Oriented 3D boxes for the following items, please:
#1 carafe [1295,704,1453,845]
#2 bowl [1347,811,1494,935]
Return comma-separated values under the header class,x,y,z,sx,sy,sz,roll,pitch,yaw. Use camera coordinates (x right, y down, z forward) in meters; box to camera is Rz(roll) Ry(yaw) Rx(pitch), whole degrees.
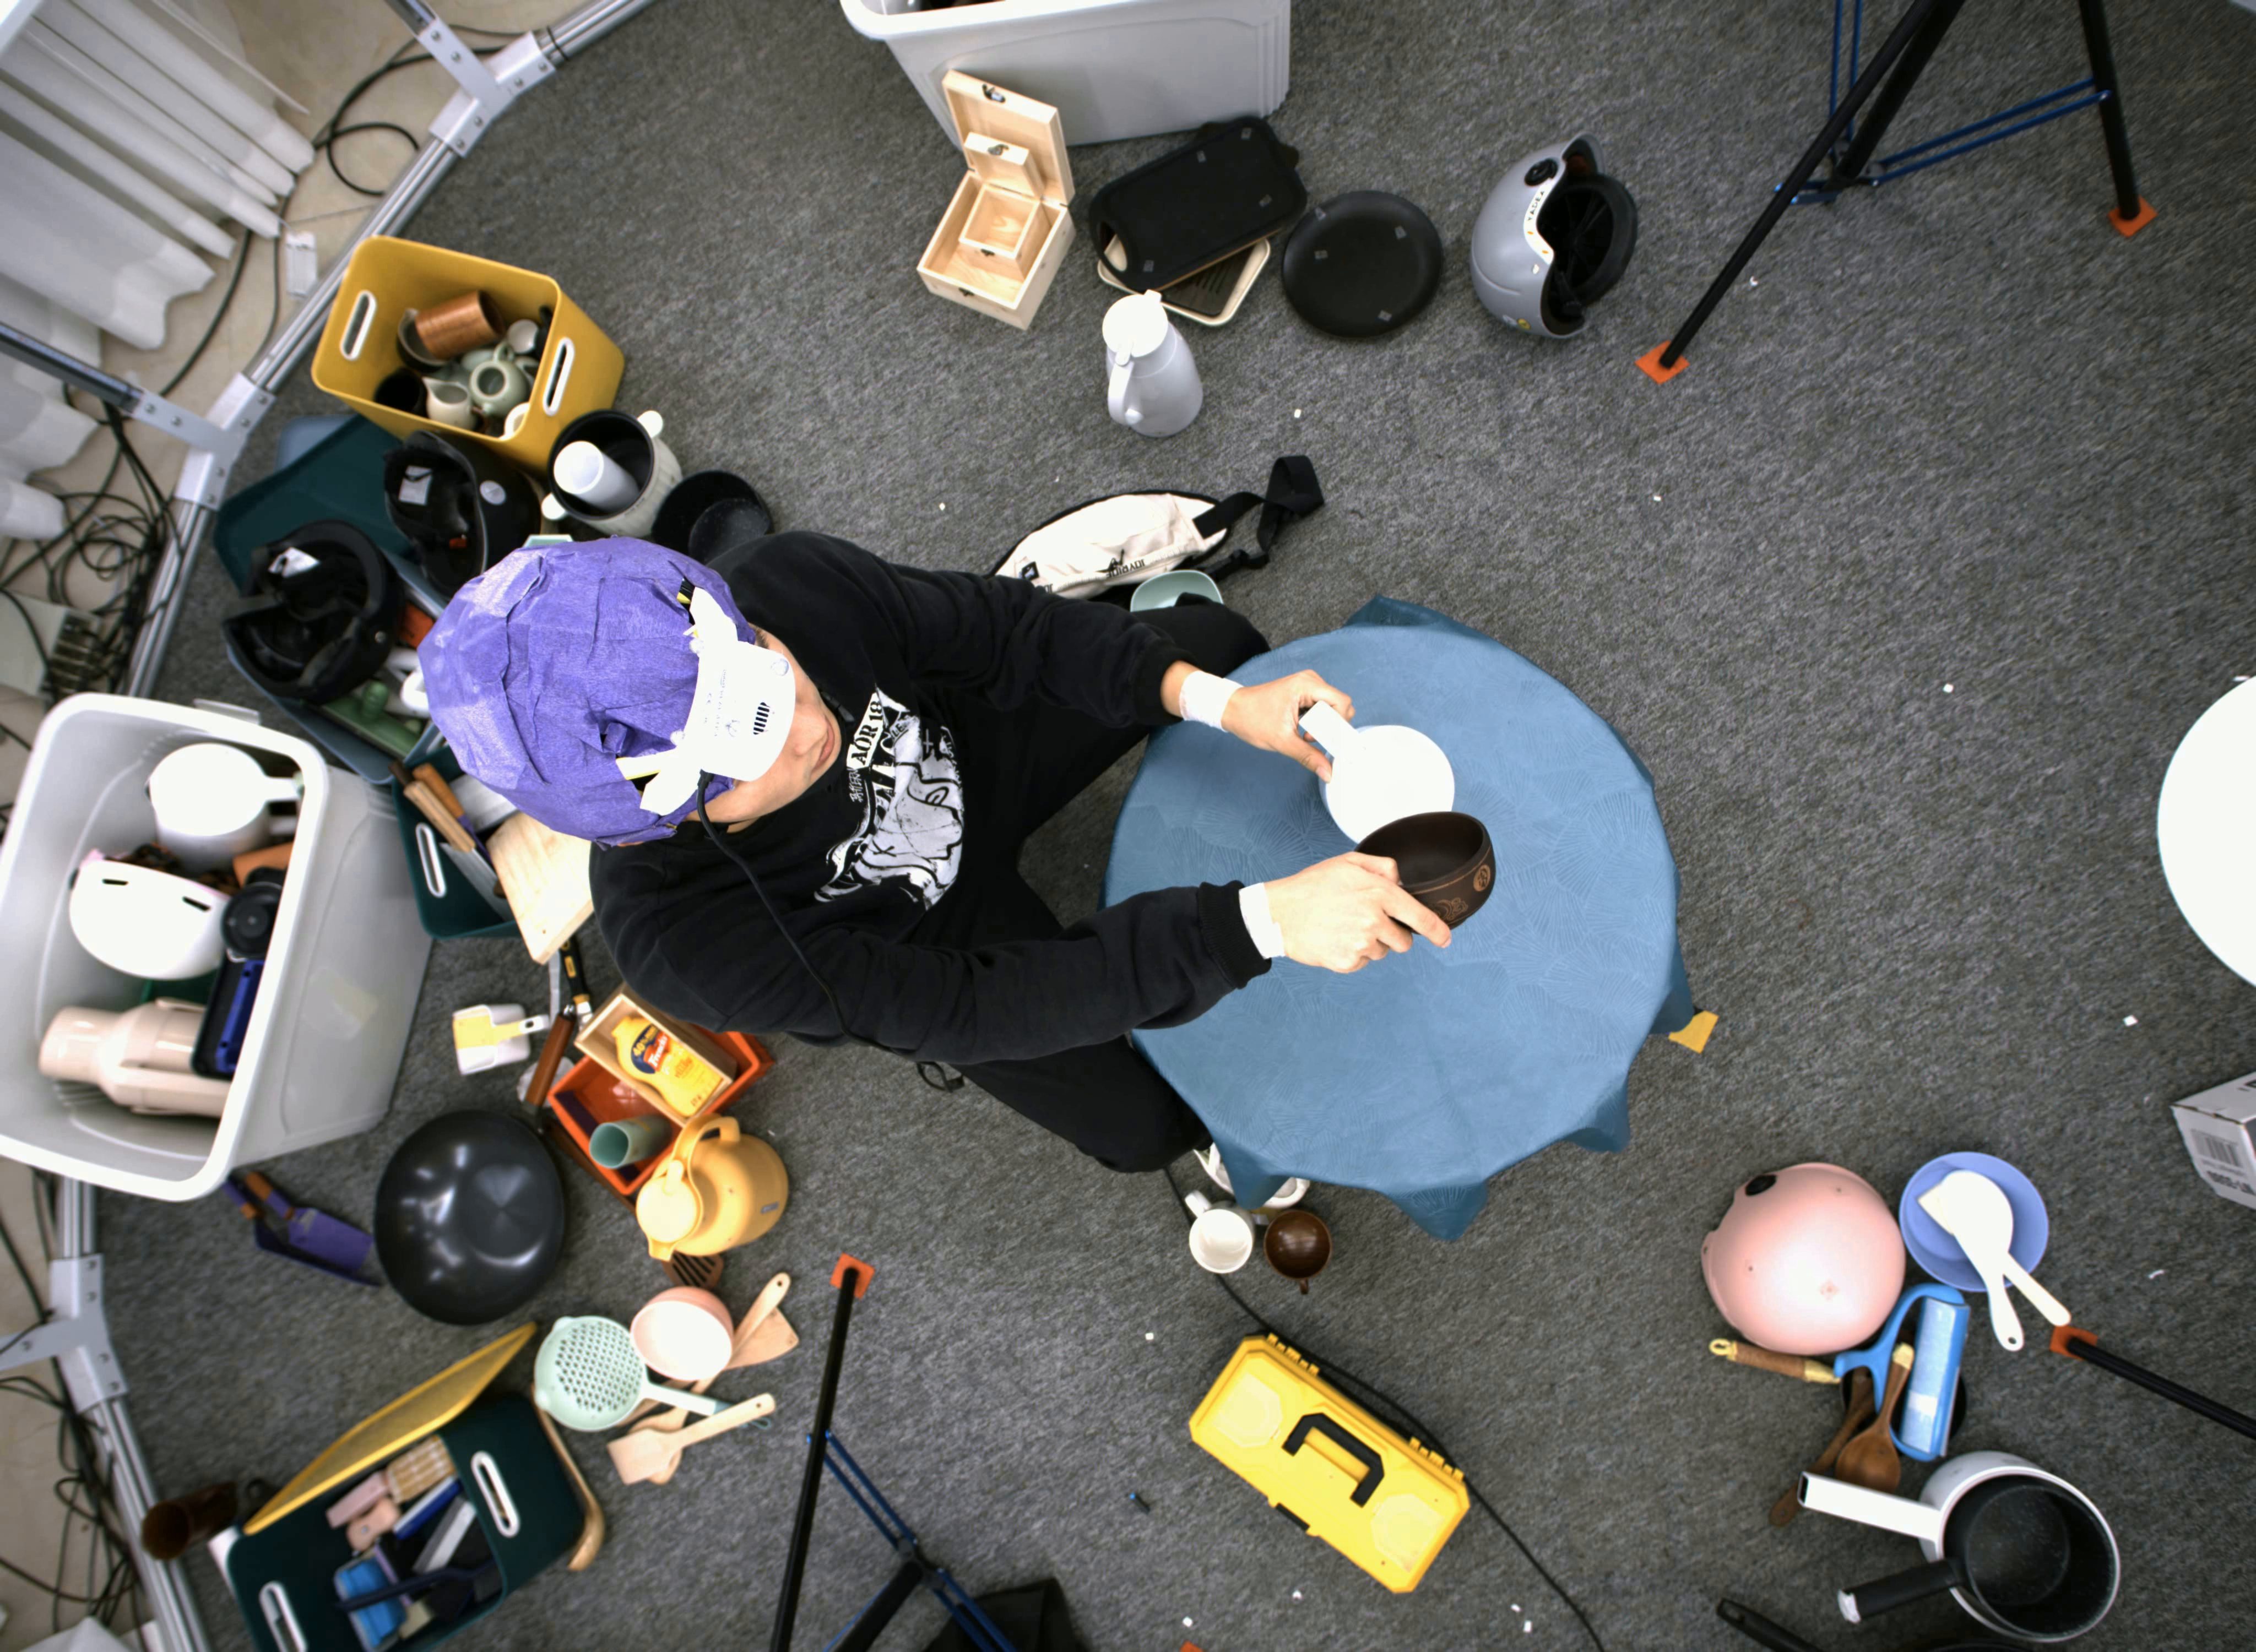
class,x,y,z,sx,sy,sz,roll,pitch,yaw
carafe,0.233,-0.050,1.330,0.173,0.266,0.125,42,100,1
bowl,0.246,0.045,1.142,0.118,0.115,0.071,-19,116,8
